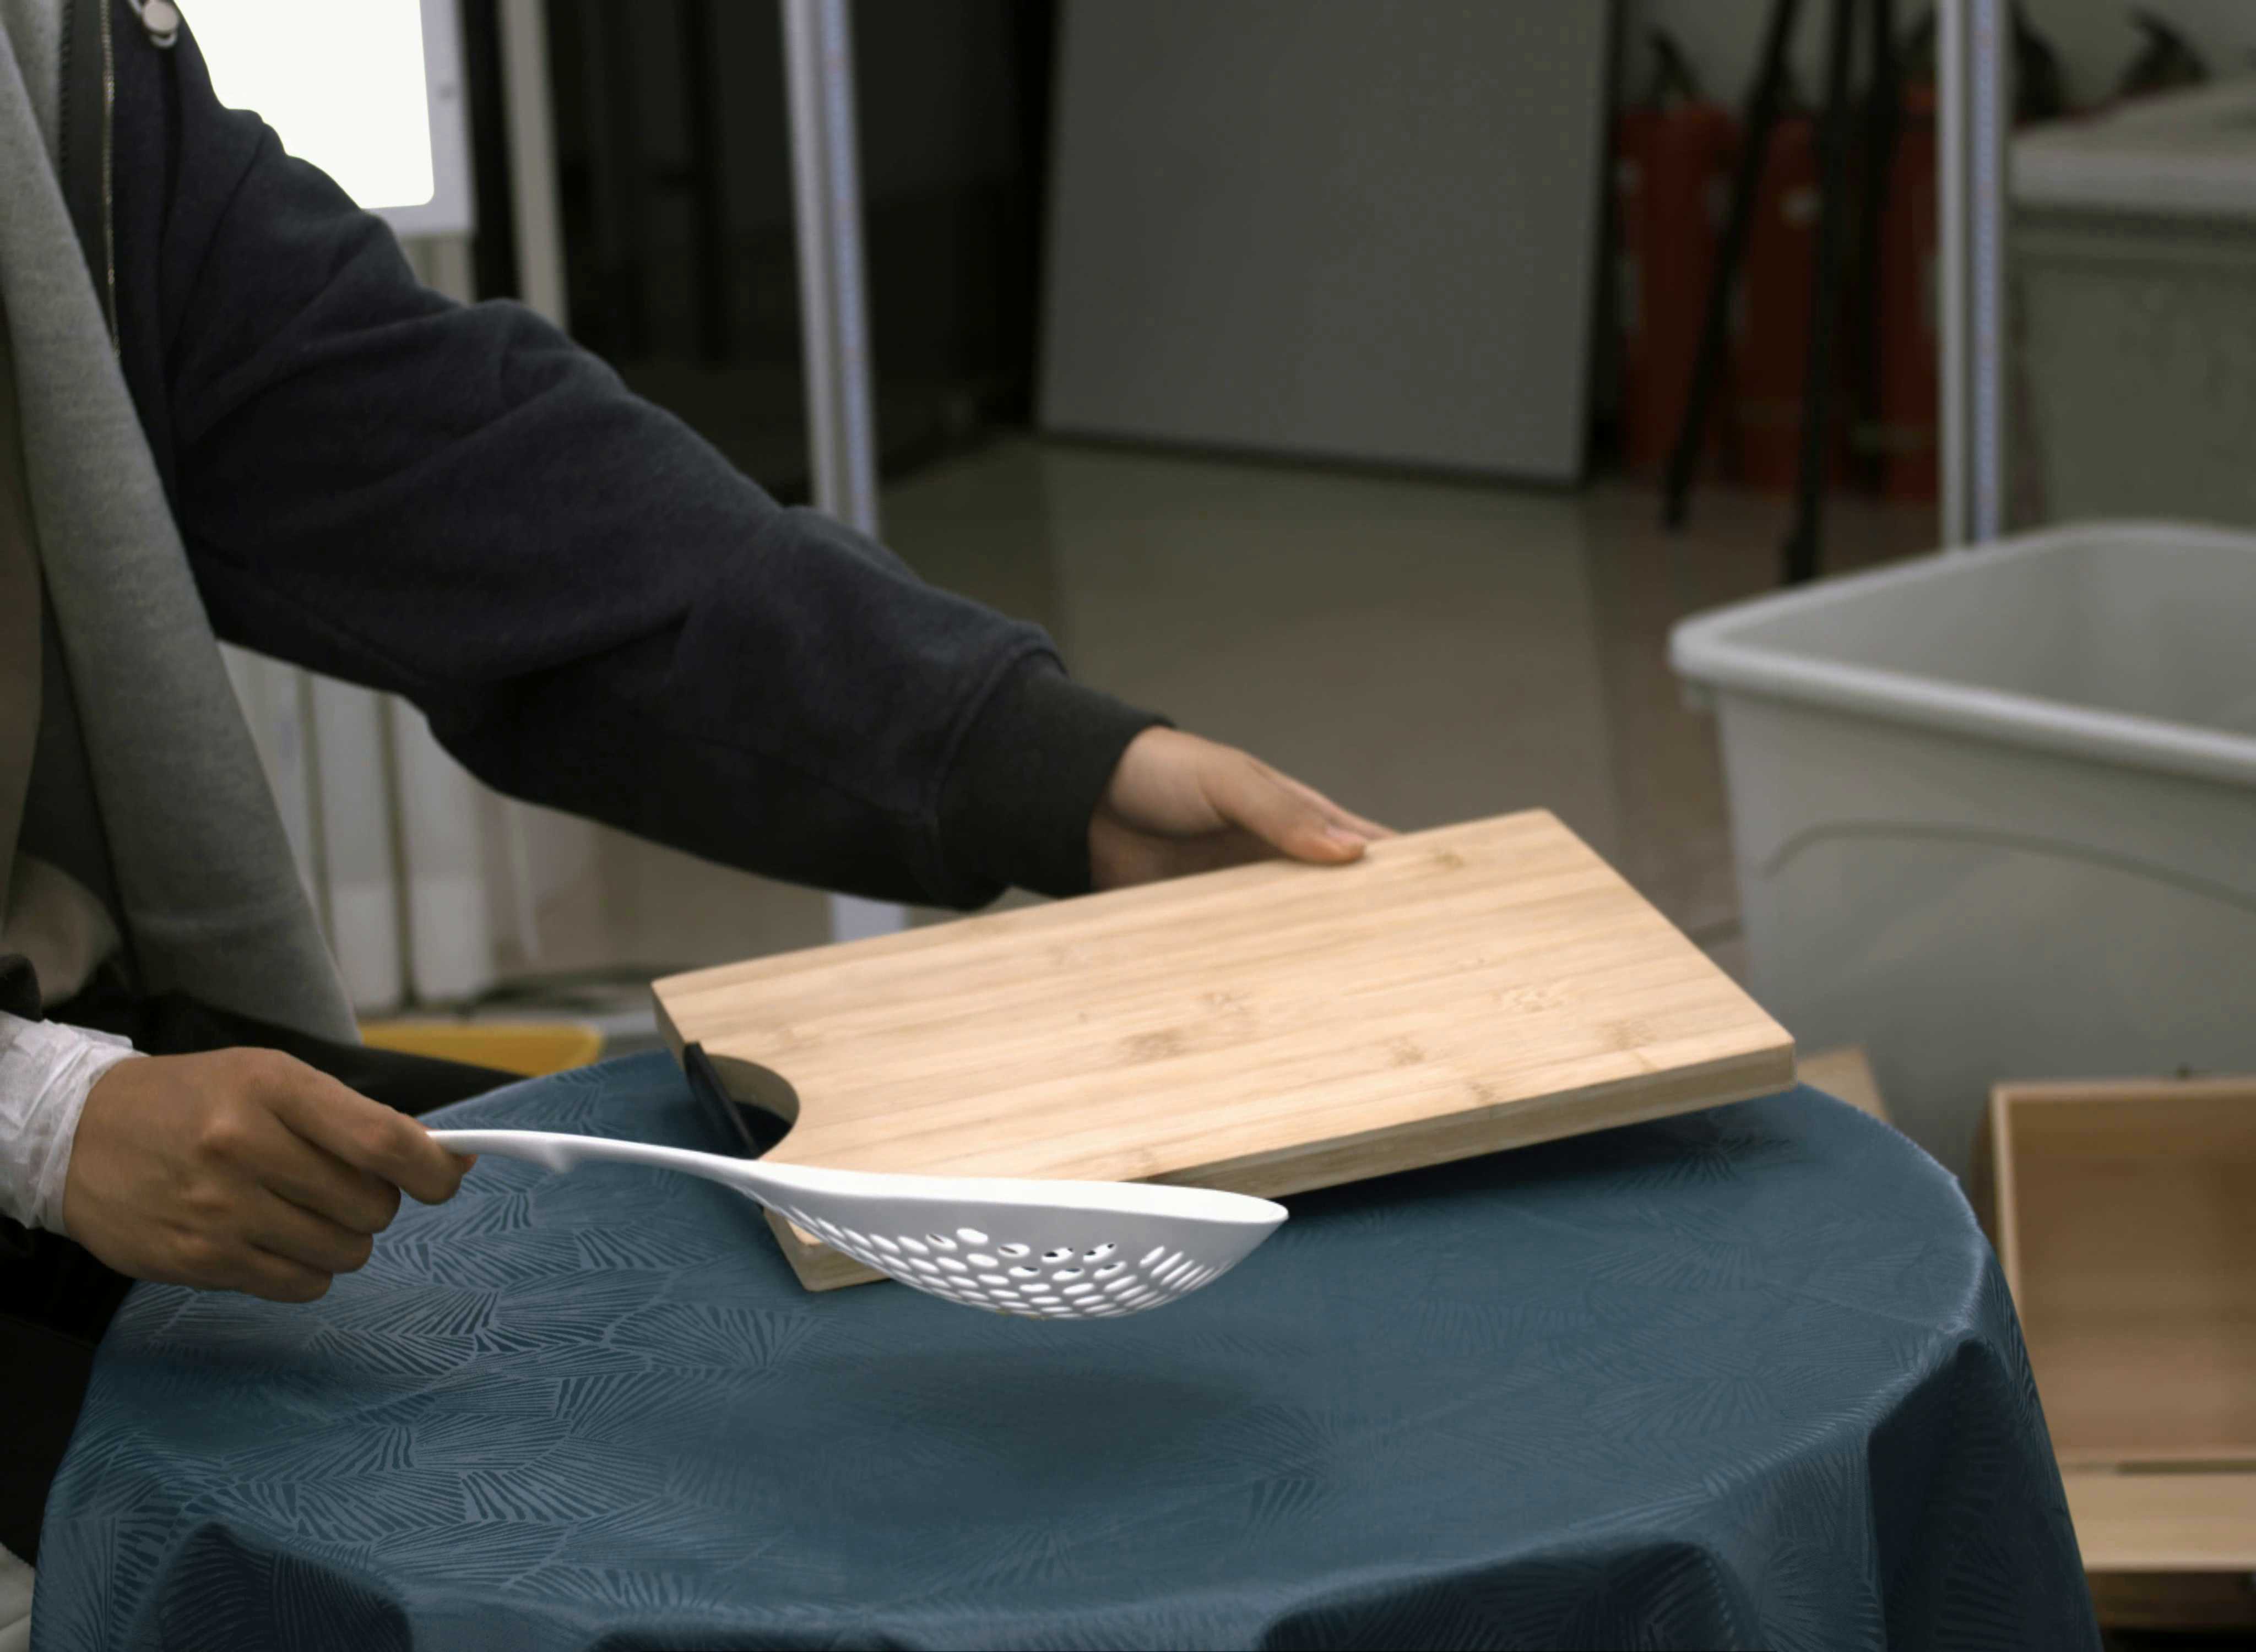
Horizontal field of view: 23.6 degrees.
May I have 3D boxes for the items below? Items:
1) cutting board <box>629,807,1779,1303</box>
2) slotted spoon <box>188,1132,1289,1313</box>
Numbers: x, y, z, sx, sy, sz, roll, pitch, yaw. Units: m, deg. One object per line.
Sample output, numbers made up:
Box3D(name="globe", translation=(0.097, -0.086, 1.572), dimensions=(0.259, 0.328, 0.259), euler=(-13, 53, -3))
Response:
Box3D(name="cutting board", translation=(0.022, 0.073, 1.830), dimensions=(0.342, 0.024, 0.253), euler=(-12, 21, -13))
Box3D(name="slotted spoon", translation=(-0.121, 0.108, 1.597), dimensions=(0.348, 0.051, 0.135), euler=(7, 1, 23))
